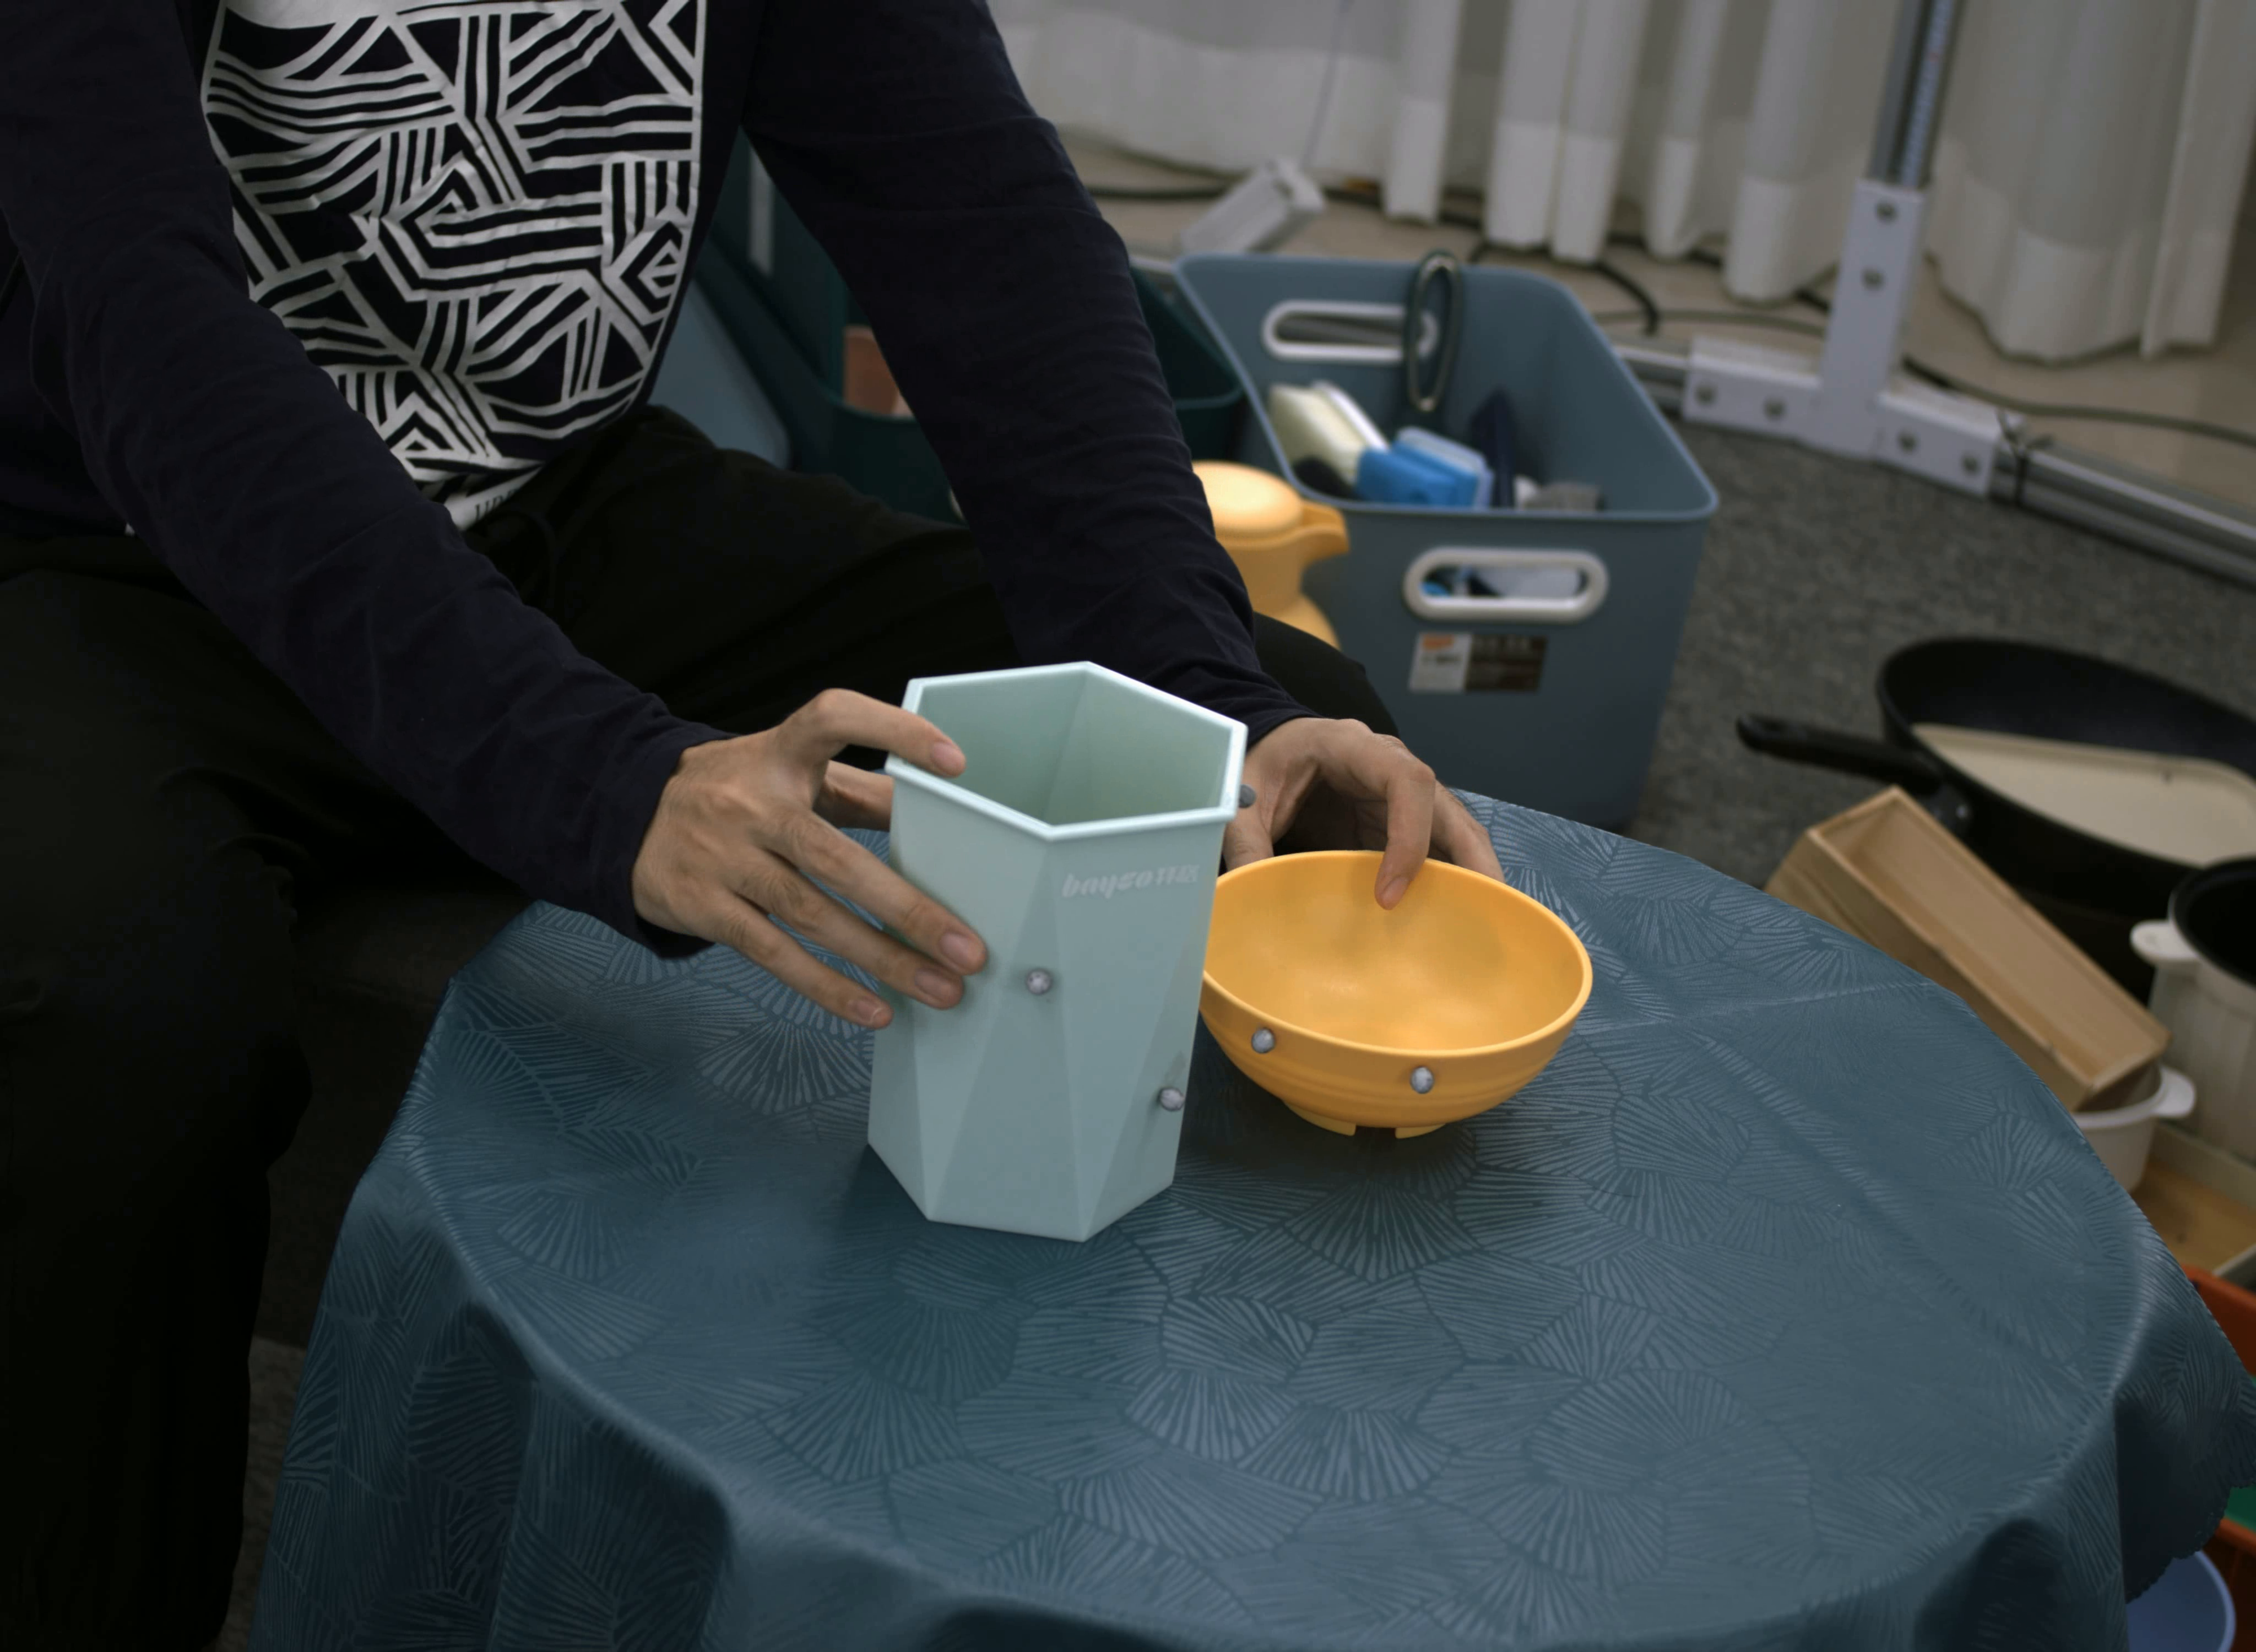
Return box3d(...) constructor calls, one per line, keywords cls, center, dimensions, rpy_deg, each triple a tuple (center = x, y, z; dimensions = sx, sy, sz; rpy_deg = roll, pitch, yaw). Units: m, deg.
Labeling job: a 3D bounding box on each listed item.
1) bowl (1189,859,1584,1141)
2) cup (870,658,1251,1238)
box3d(cls="bowl", center=(0.085, 0.070, 1.872), dimensions=(0.145, 0.060, 0.146), rpy_deg=(5, 25, -3))
box3d(cls="cup", center=(-0.026, 0.043, 1.778), dimensions=(0.130, 0.162, 0.116), rpy_deg=(-7, 28, -26))
